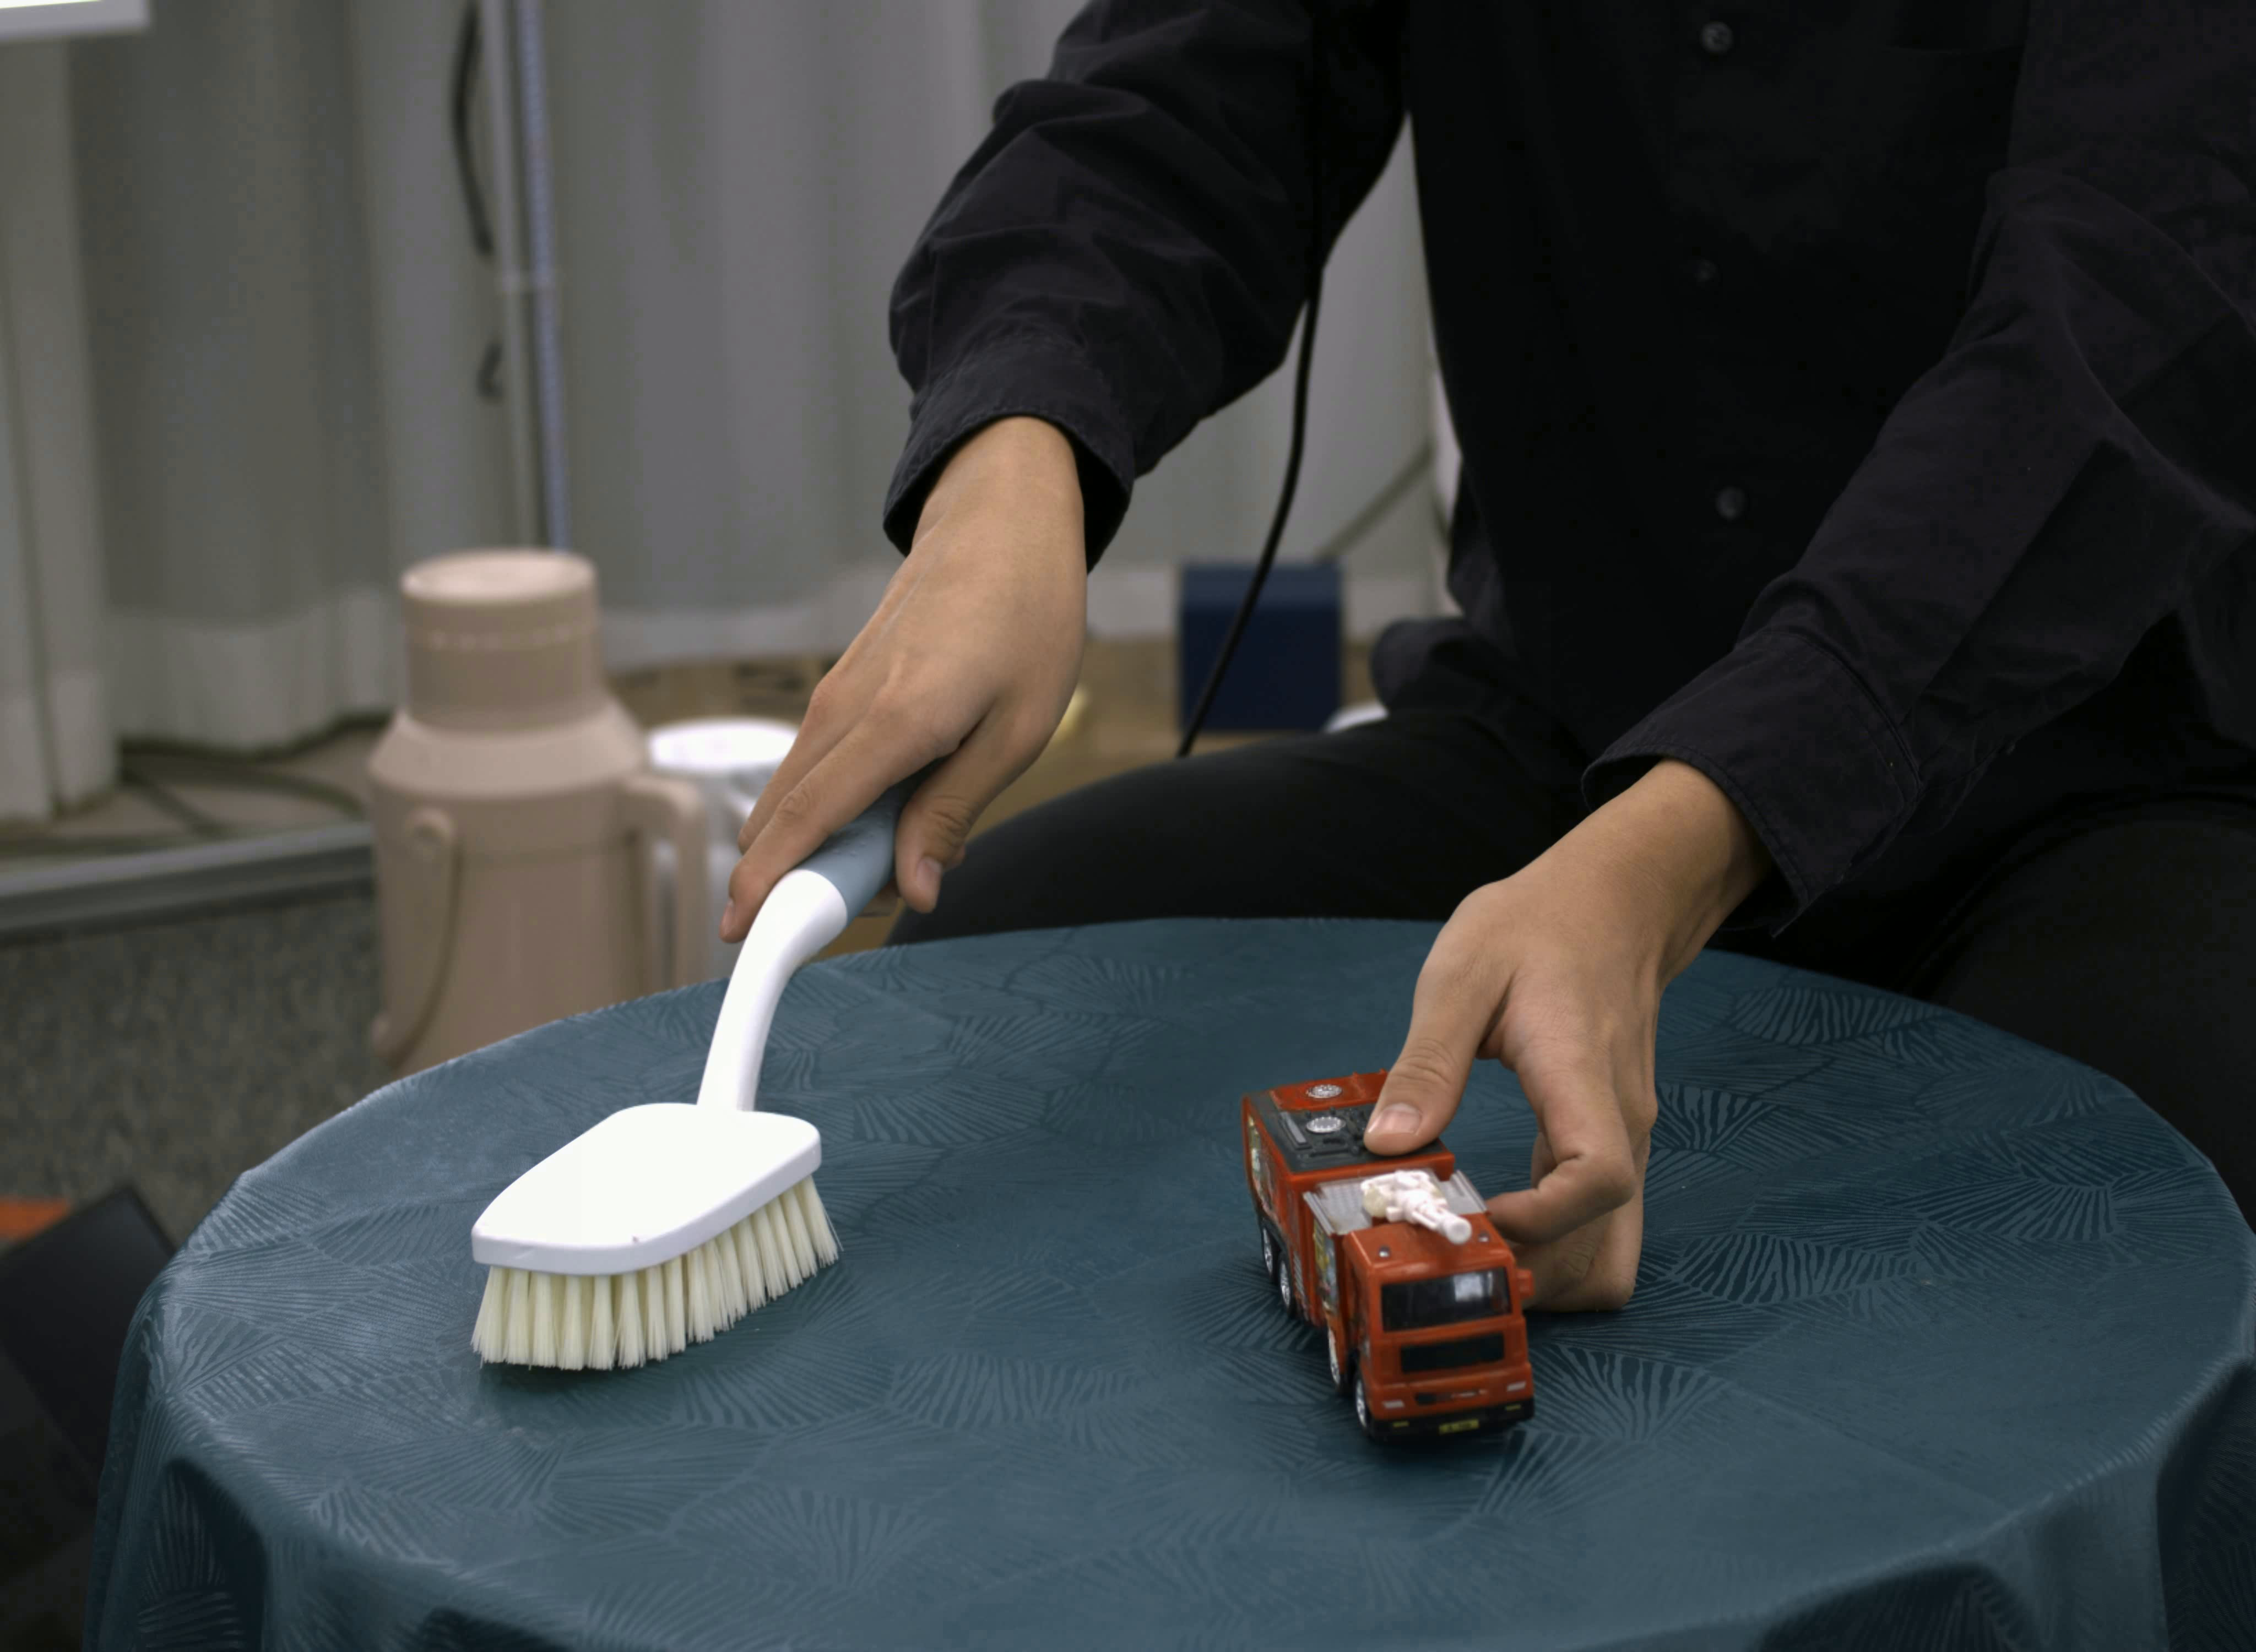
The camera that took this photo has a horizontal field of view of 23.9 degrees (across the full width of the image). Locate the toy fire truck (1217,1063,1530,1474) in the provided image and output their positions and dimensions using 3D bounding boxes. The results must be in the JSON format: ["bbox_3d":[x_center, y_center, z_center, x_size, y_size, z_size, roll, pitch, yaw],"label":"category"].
[{"bbox_3d":[0.065,0.115,1.417,0.053,0.070,0.170,-8,16,-10],"label":"toy fire truck"}]

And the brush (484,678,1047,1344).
[{"bbox_3d":[-0.091,0.067,1.568,0.083,0.085,0.322,36,39,4],"label":"brush"}]
